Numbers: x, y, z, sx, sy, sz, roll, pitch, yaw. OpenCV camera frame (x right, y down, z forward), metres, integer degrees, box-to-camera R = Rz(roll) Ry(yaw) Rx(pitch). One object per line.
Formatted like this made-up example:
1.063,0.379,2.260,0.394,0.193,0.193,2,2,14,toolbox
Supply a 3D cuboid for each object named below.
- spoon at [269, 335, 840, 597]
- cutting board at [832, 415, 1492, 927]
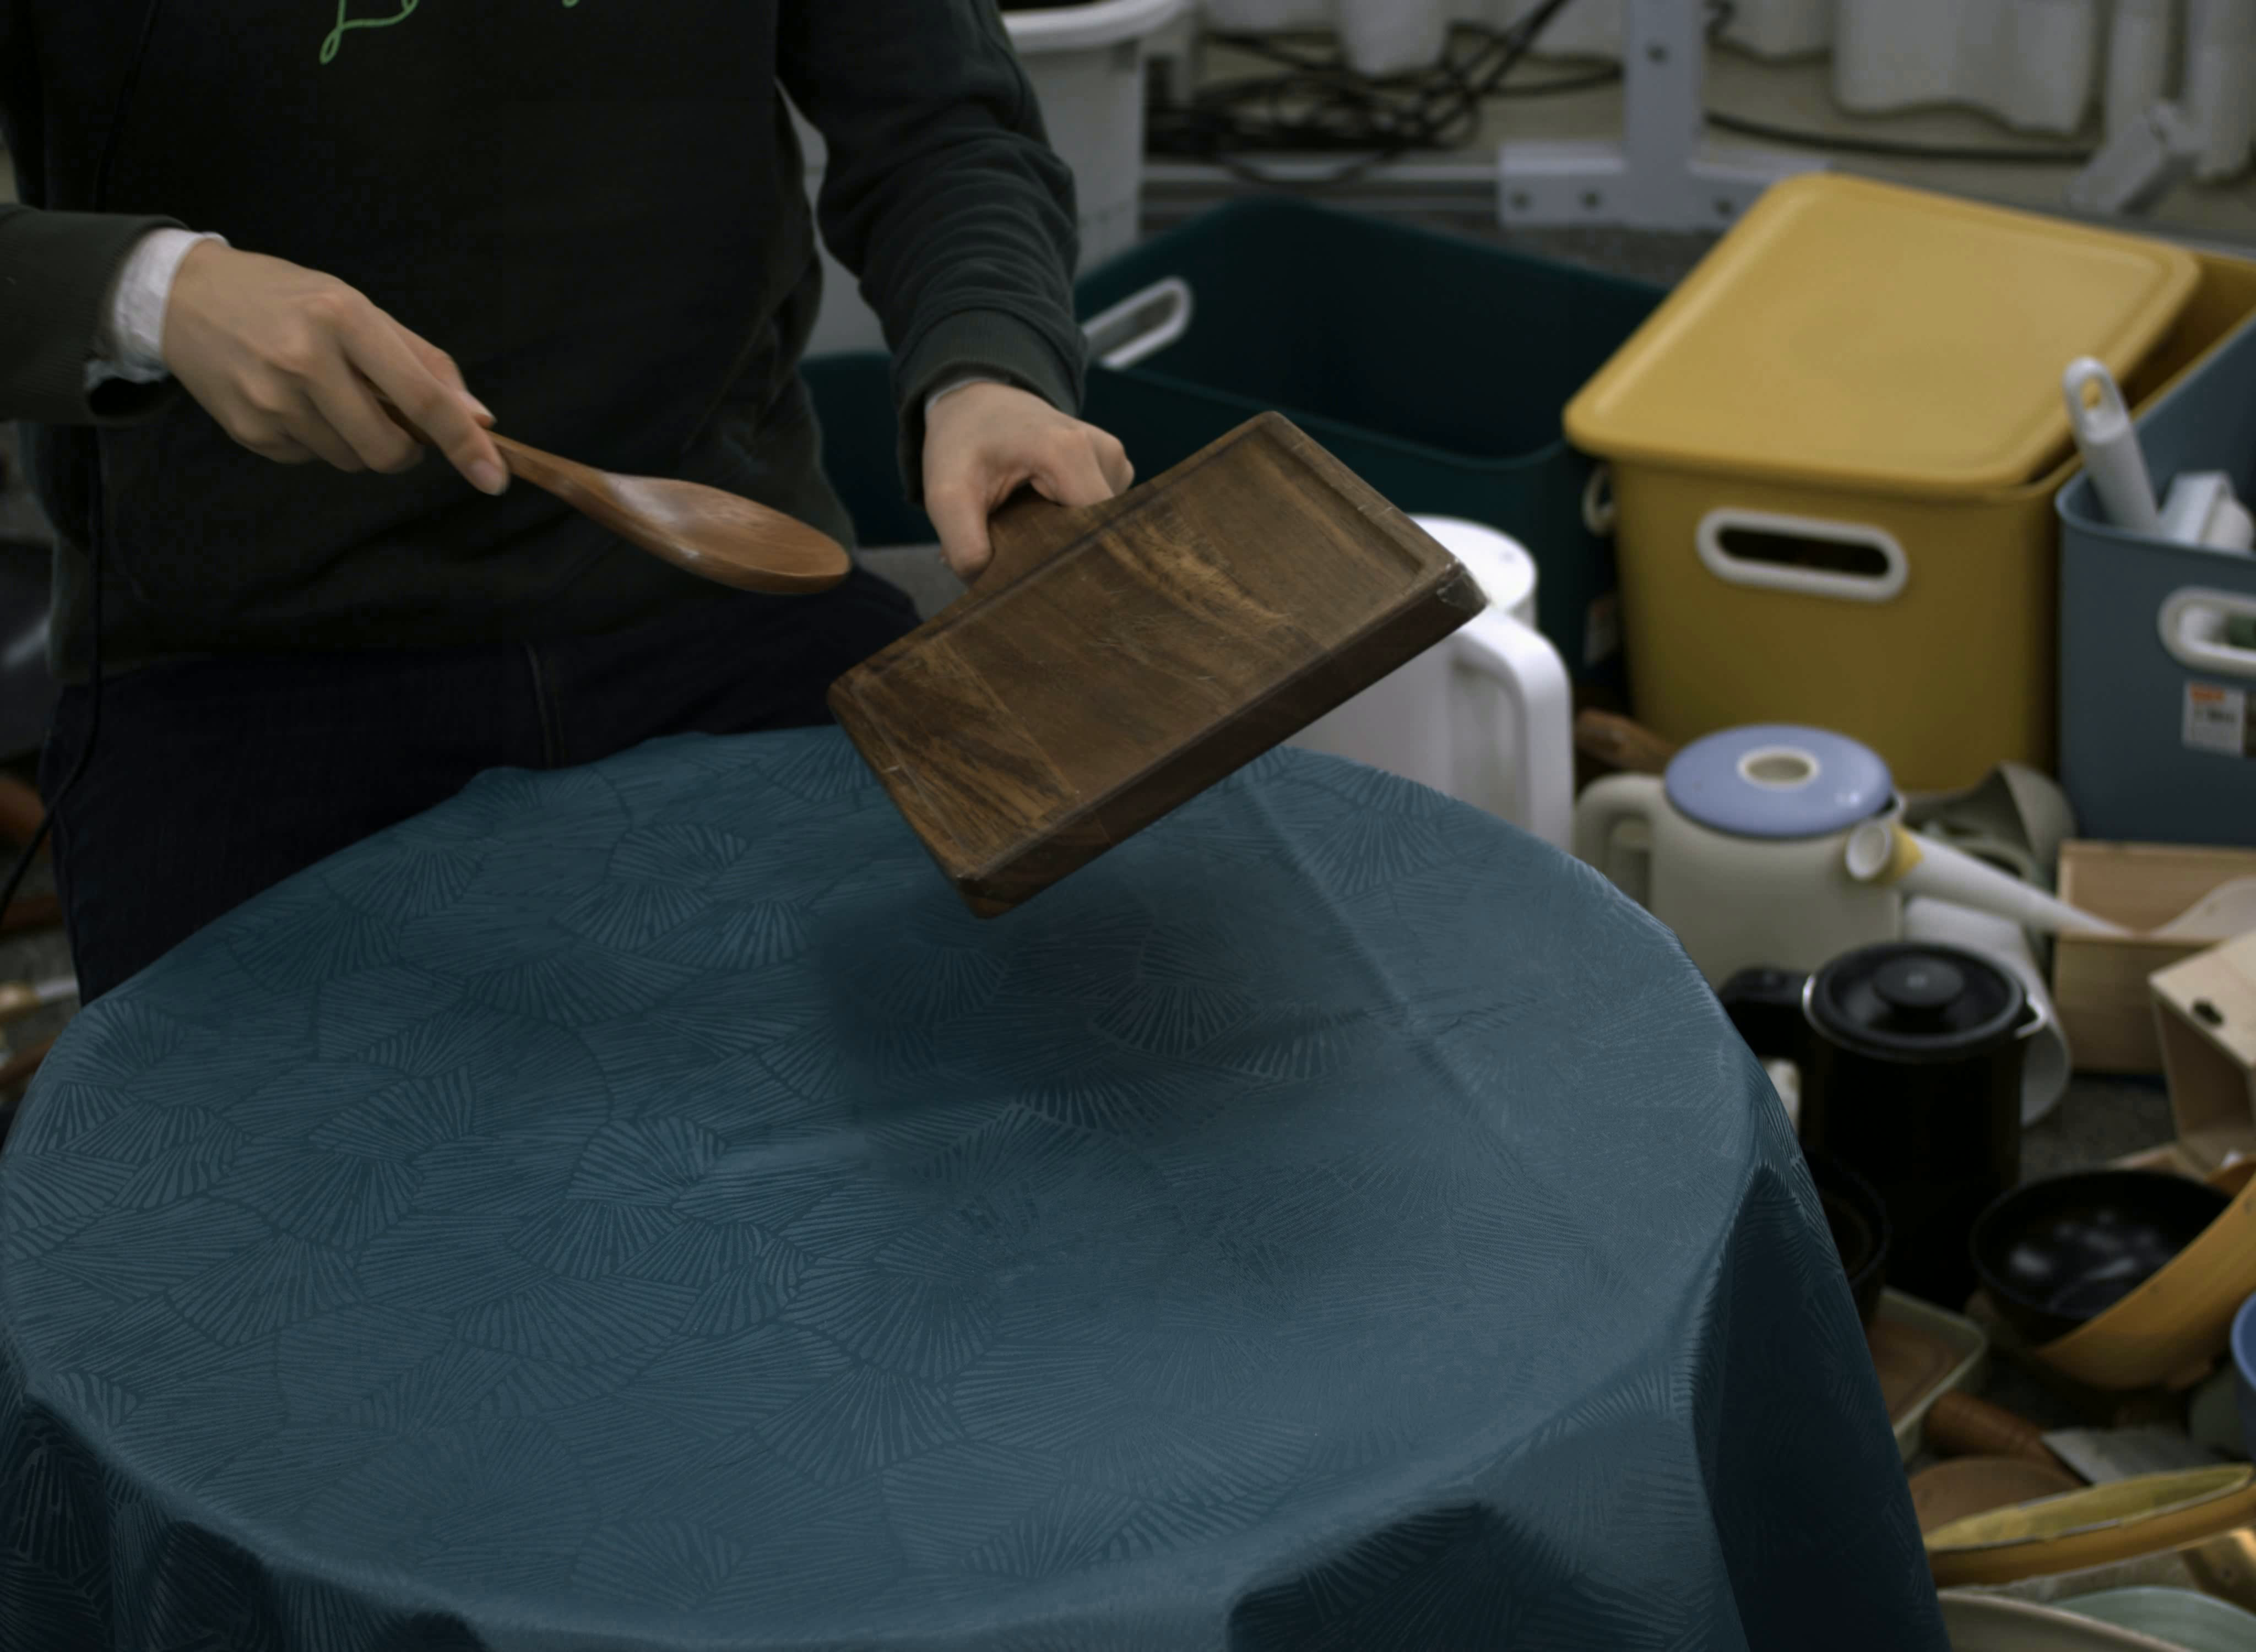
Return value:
-0.202,-0.124,1.971,0.215,0.017,0.076,23,23,5,spoon
-0.005,-0.071,1.972,0.201,0.023,0.354,-33,20,-3,cutting board
